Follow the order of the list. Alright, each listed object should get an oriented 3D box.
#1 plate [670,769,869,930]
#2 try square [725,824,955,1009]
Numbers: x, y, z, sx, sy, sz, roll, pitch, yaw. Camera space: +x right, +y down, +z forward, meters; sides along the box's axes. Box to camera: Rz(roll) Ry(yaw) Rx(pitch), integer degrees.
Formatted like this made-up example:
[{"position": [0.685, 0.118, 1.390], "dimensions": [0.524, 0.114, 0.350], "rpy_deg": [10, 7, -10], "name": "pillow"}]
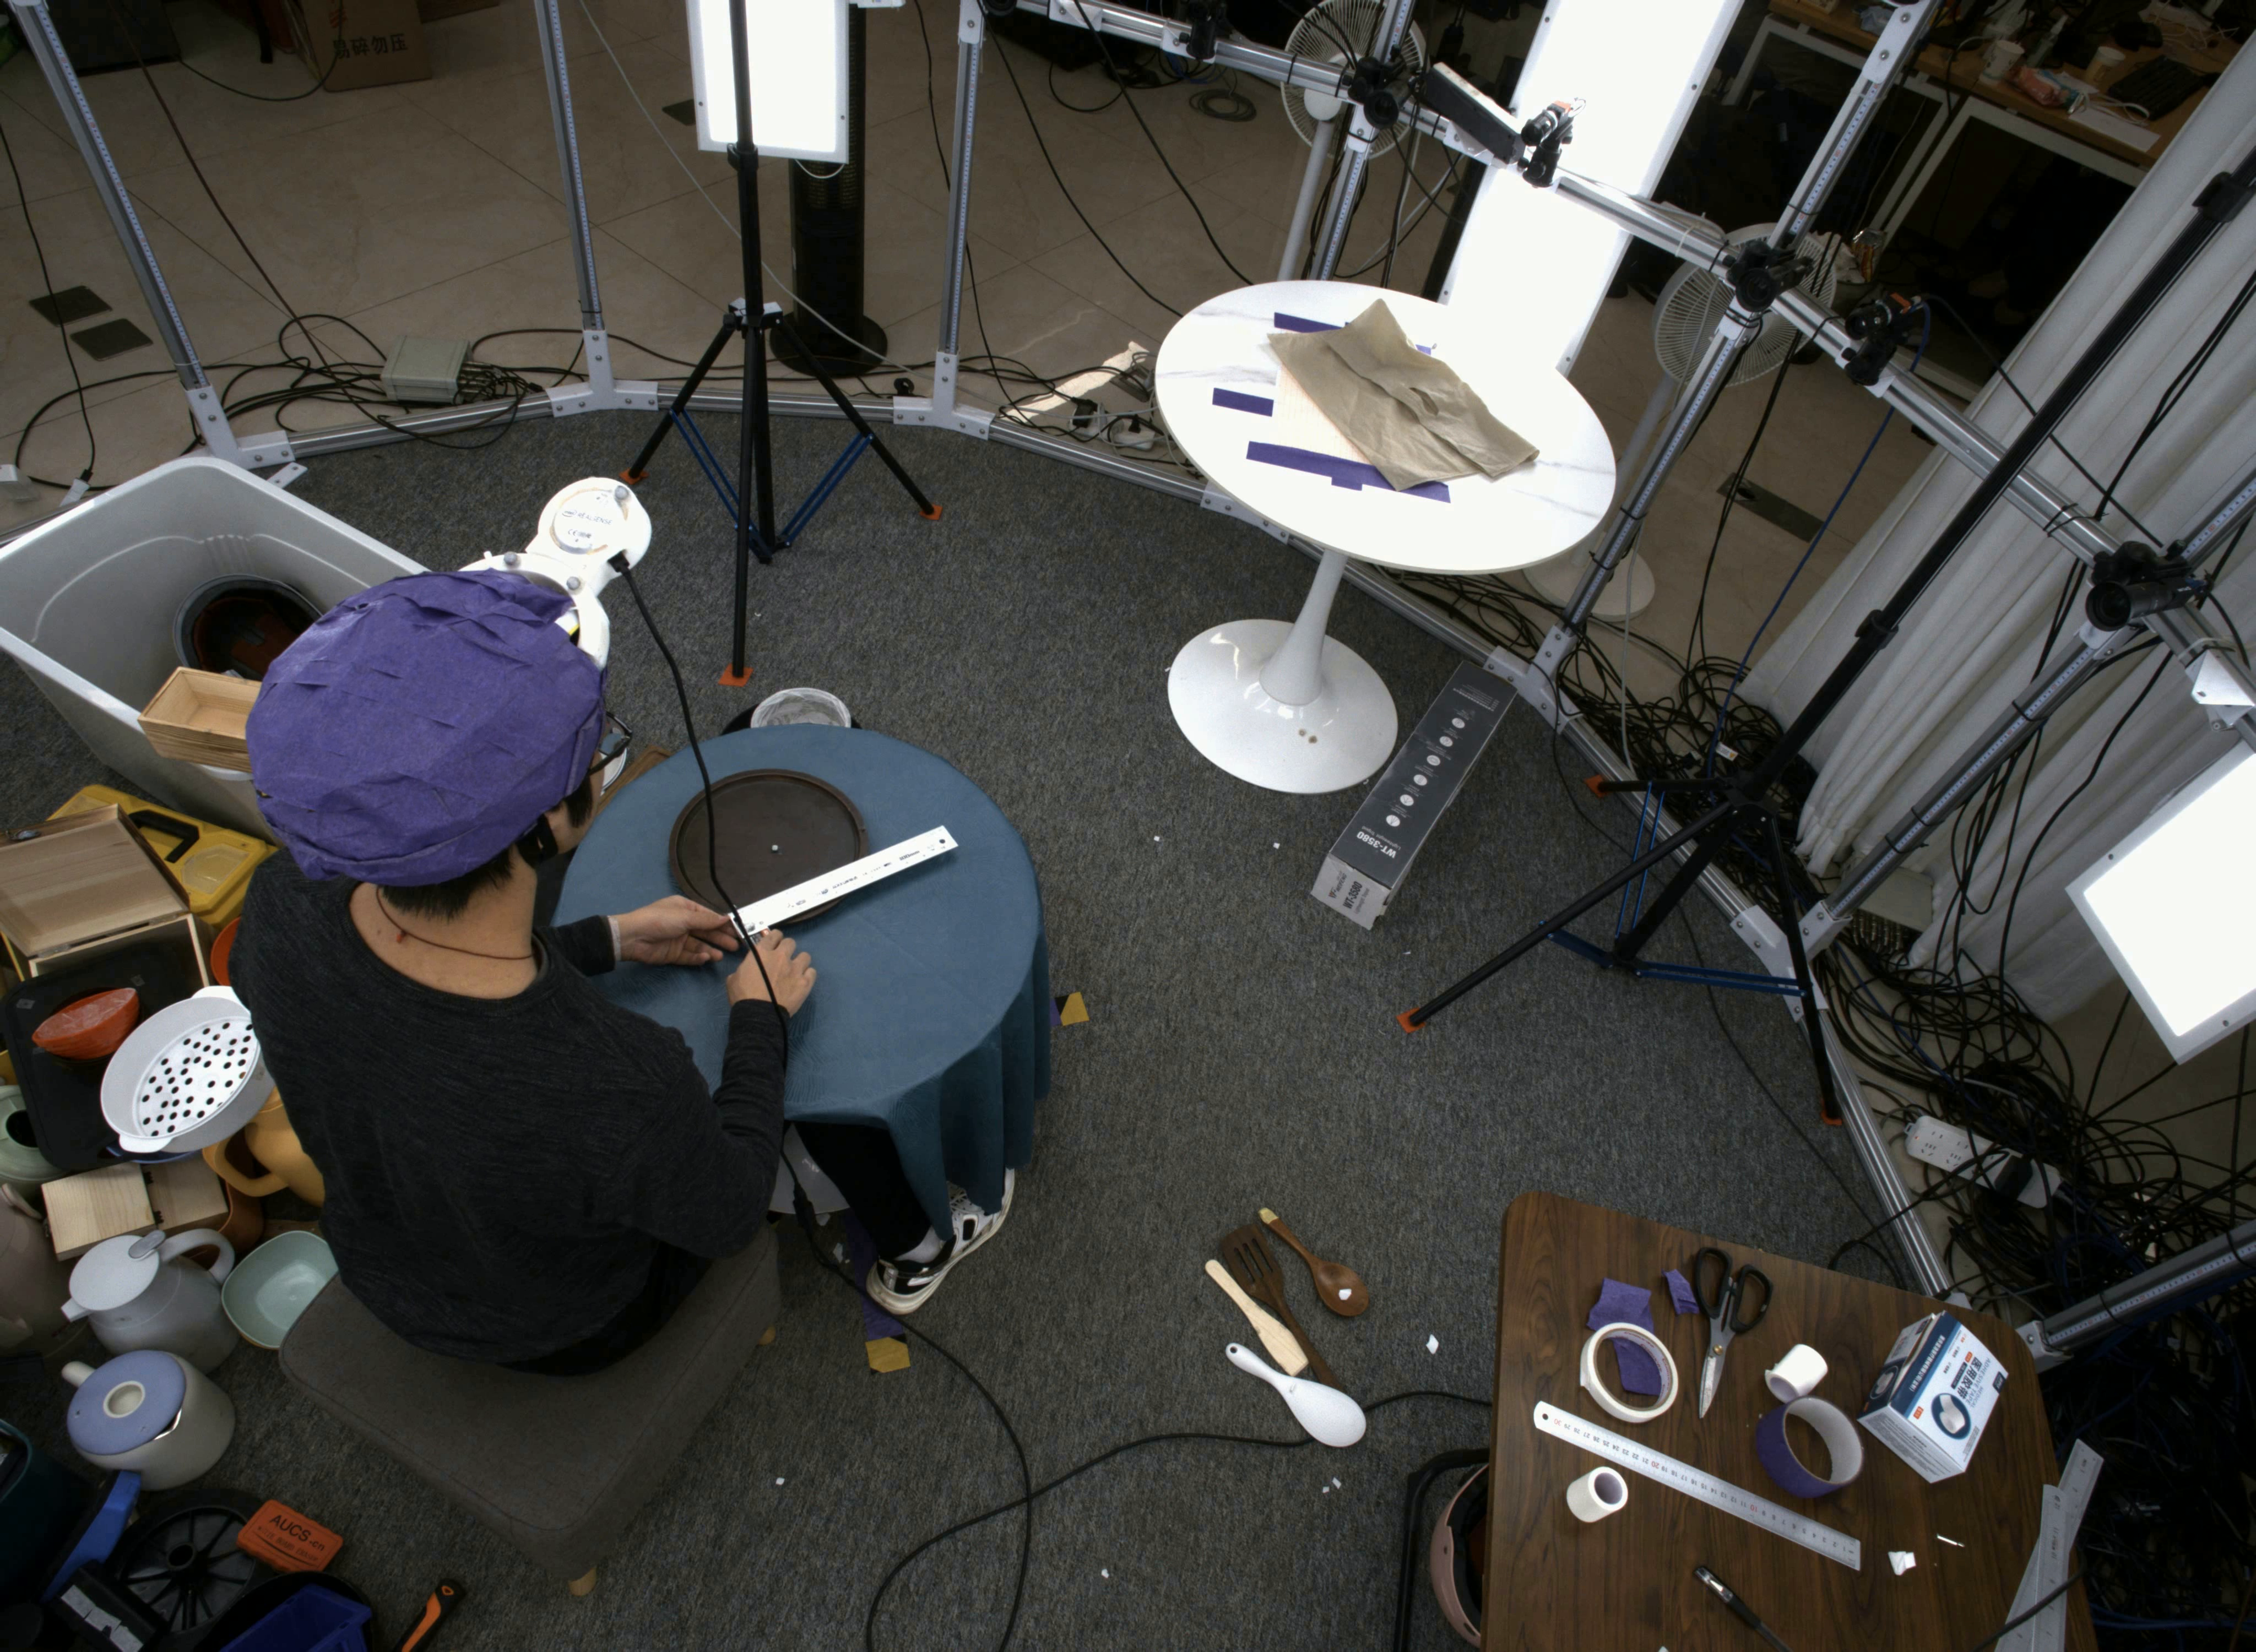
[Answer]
[{"position": [-0.462, 0.027, 1.673], "dimensions": [0.254, 0.029, 0.250], "rpy_deg": [9, 52, -10], "name": "plate"}, {"position": [-0.331, 0.104, 1.632], "dimensions": [0.314, 0.016, 0.148], "rpy_deg": [-25, 62, -30], "name": "try square"}]
